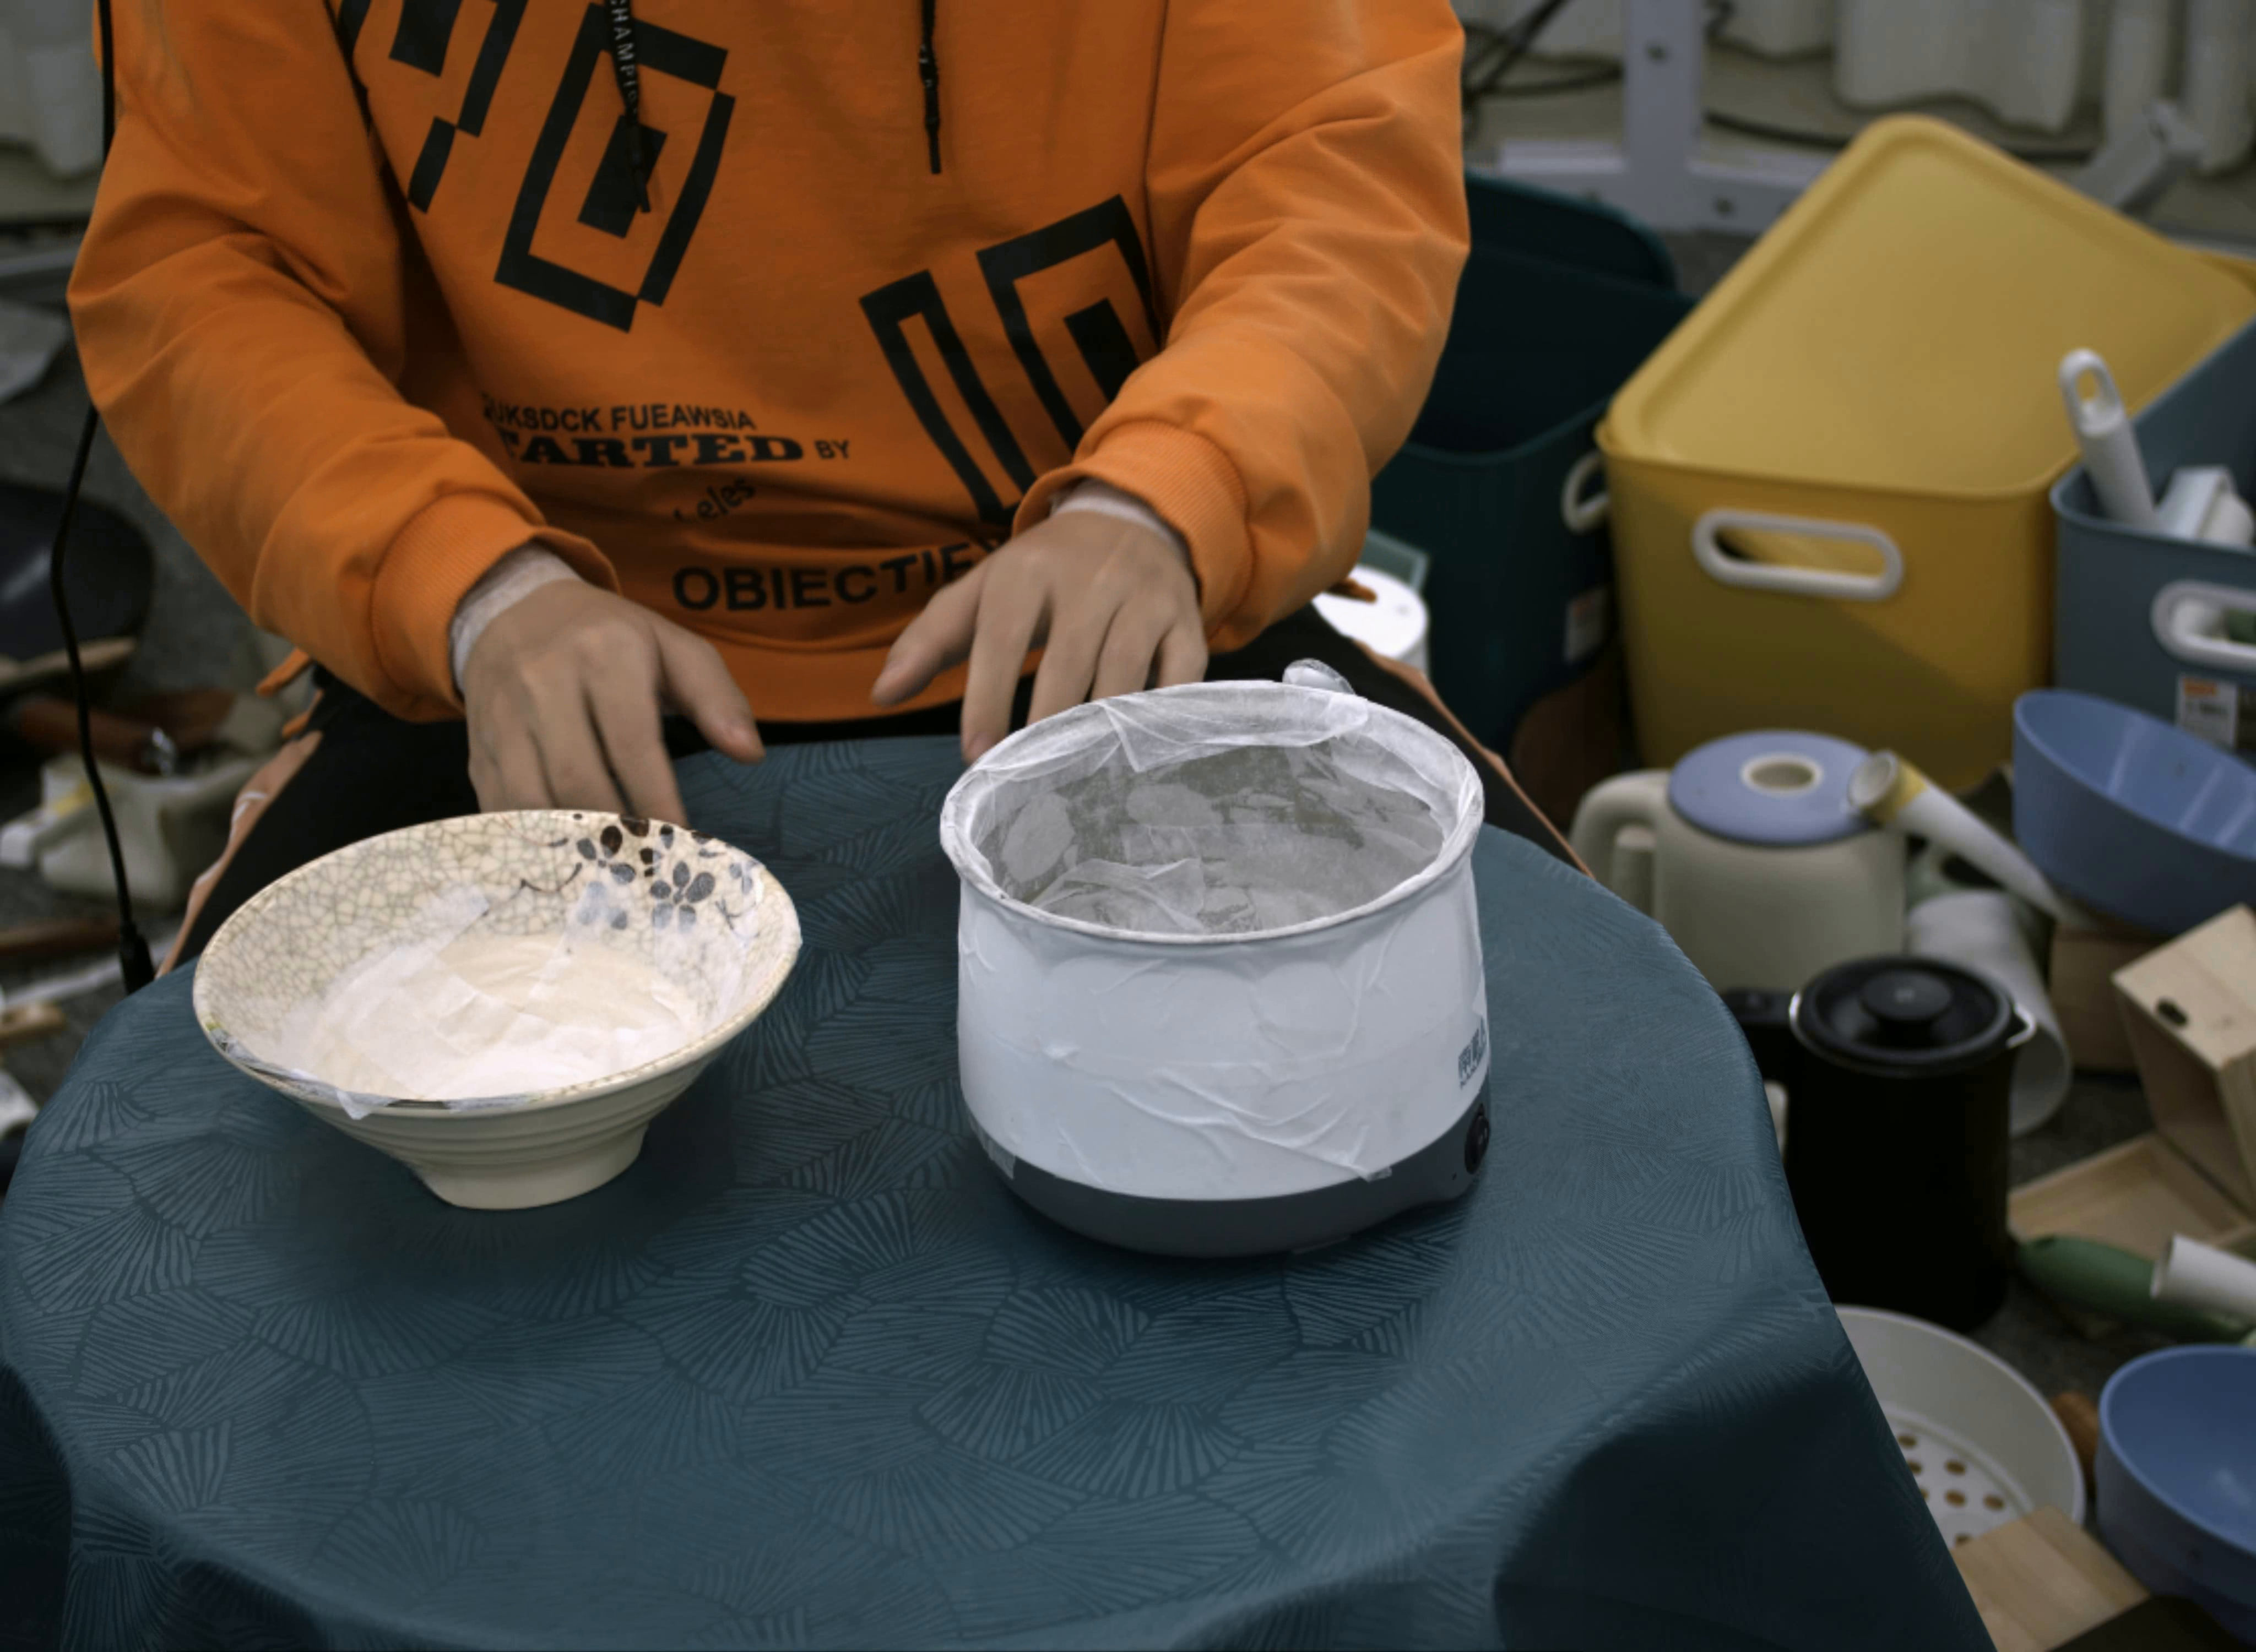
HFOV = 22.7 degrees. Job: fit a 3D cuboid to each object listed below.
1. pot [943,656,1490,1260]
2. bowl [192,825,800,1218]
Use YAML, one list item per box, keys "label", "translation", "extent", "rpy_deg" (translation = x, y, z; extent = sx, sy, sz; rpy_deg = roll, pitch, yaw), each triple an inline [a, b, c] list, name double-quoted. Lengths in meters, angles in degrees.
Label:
- label: "pot"
  translation: [0.039, 0.036, 1.875]
  extent: [0.177, 0.135, 0.238]
  rpy_deg: [7, 29, 17]
- label: "bowl"
  translation: [-0.208, 0.078, 1.889]
  extent: [0.203, 0.077, 0.207]
  rpy_deg: [-3, 25, 2]
